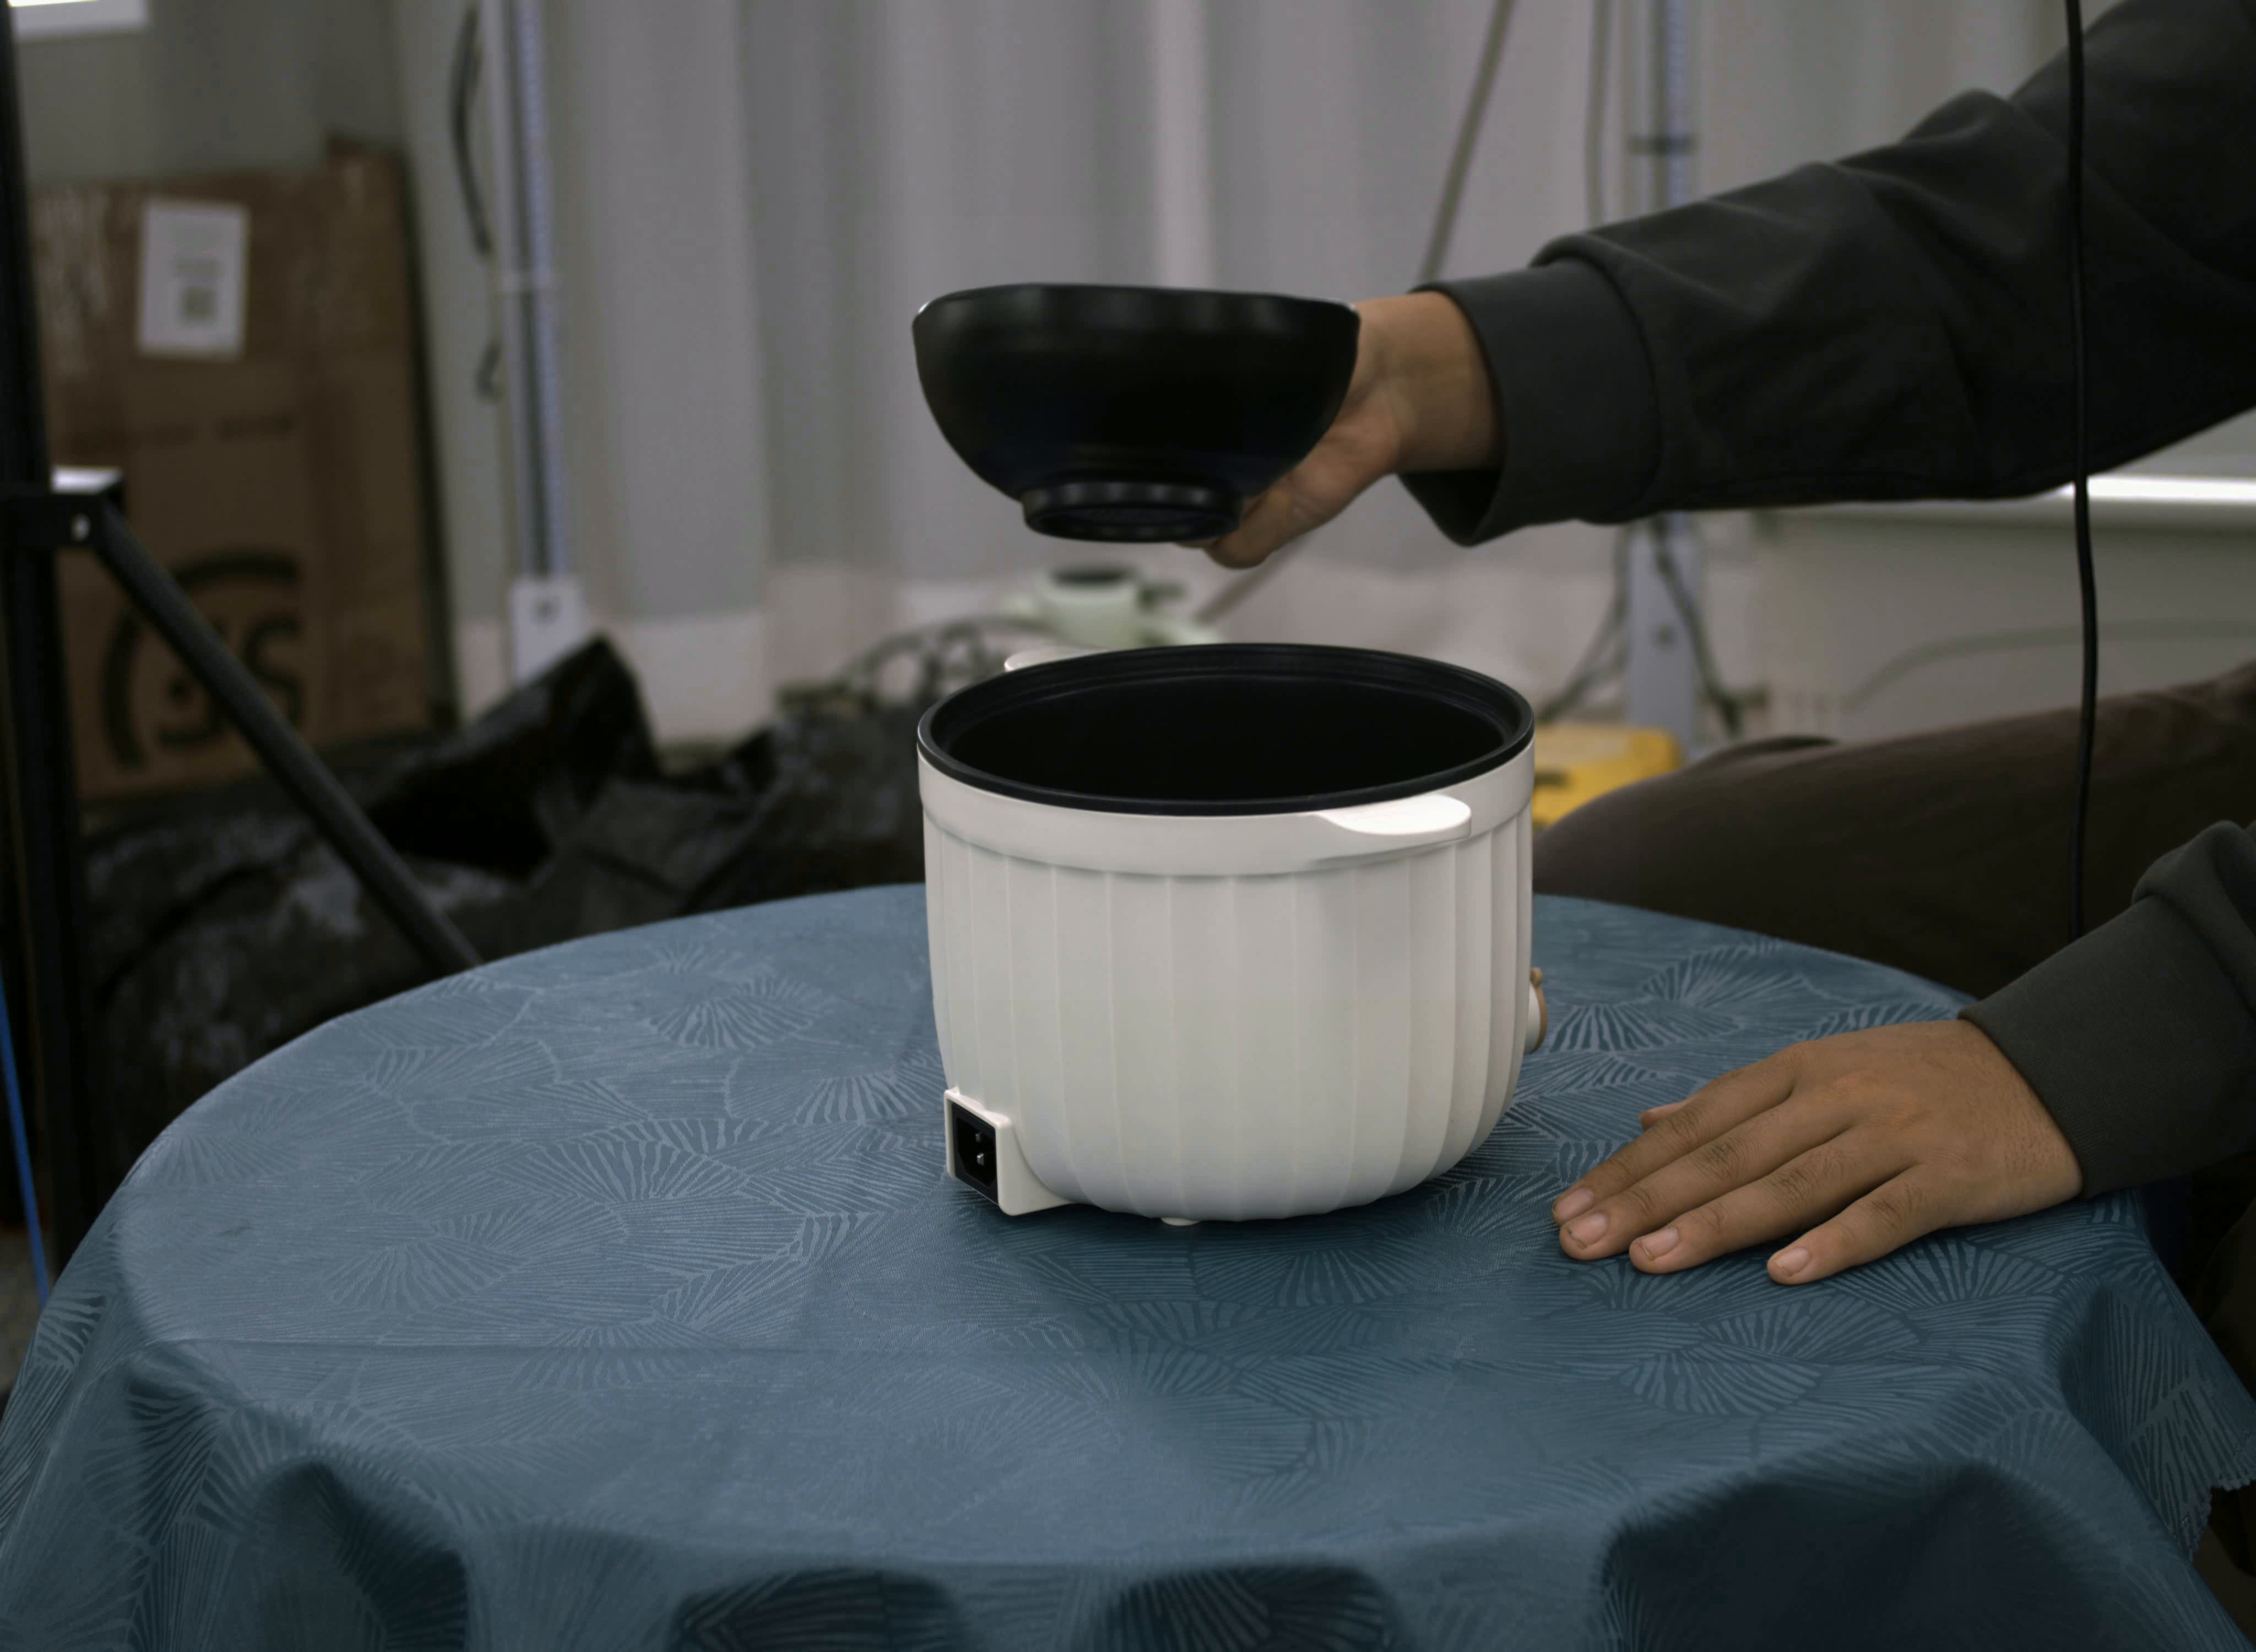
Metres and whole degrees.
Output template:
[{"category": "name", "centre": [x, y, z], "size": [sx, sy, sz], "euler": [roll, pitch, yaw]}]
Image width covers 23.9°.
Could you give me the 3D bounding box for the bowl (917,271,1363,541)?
[{"category": "bowl", "centre": [0.003, -0.125, 1.643], "size": [0.135, 0.067, 0.171], "euler": [2, -9, -12]}]

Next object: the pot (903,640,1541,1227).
[{"category": "pot", "centre": [0.034, 0.031, 1.569], "size": [0.187, 0.142, 0.245], "euler": [-13, 20, -25]}]
